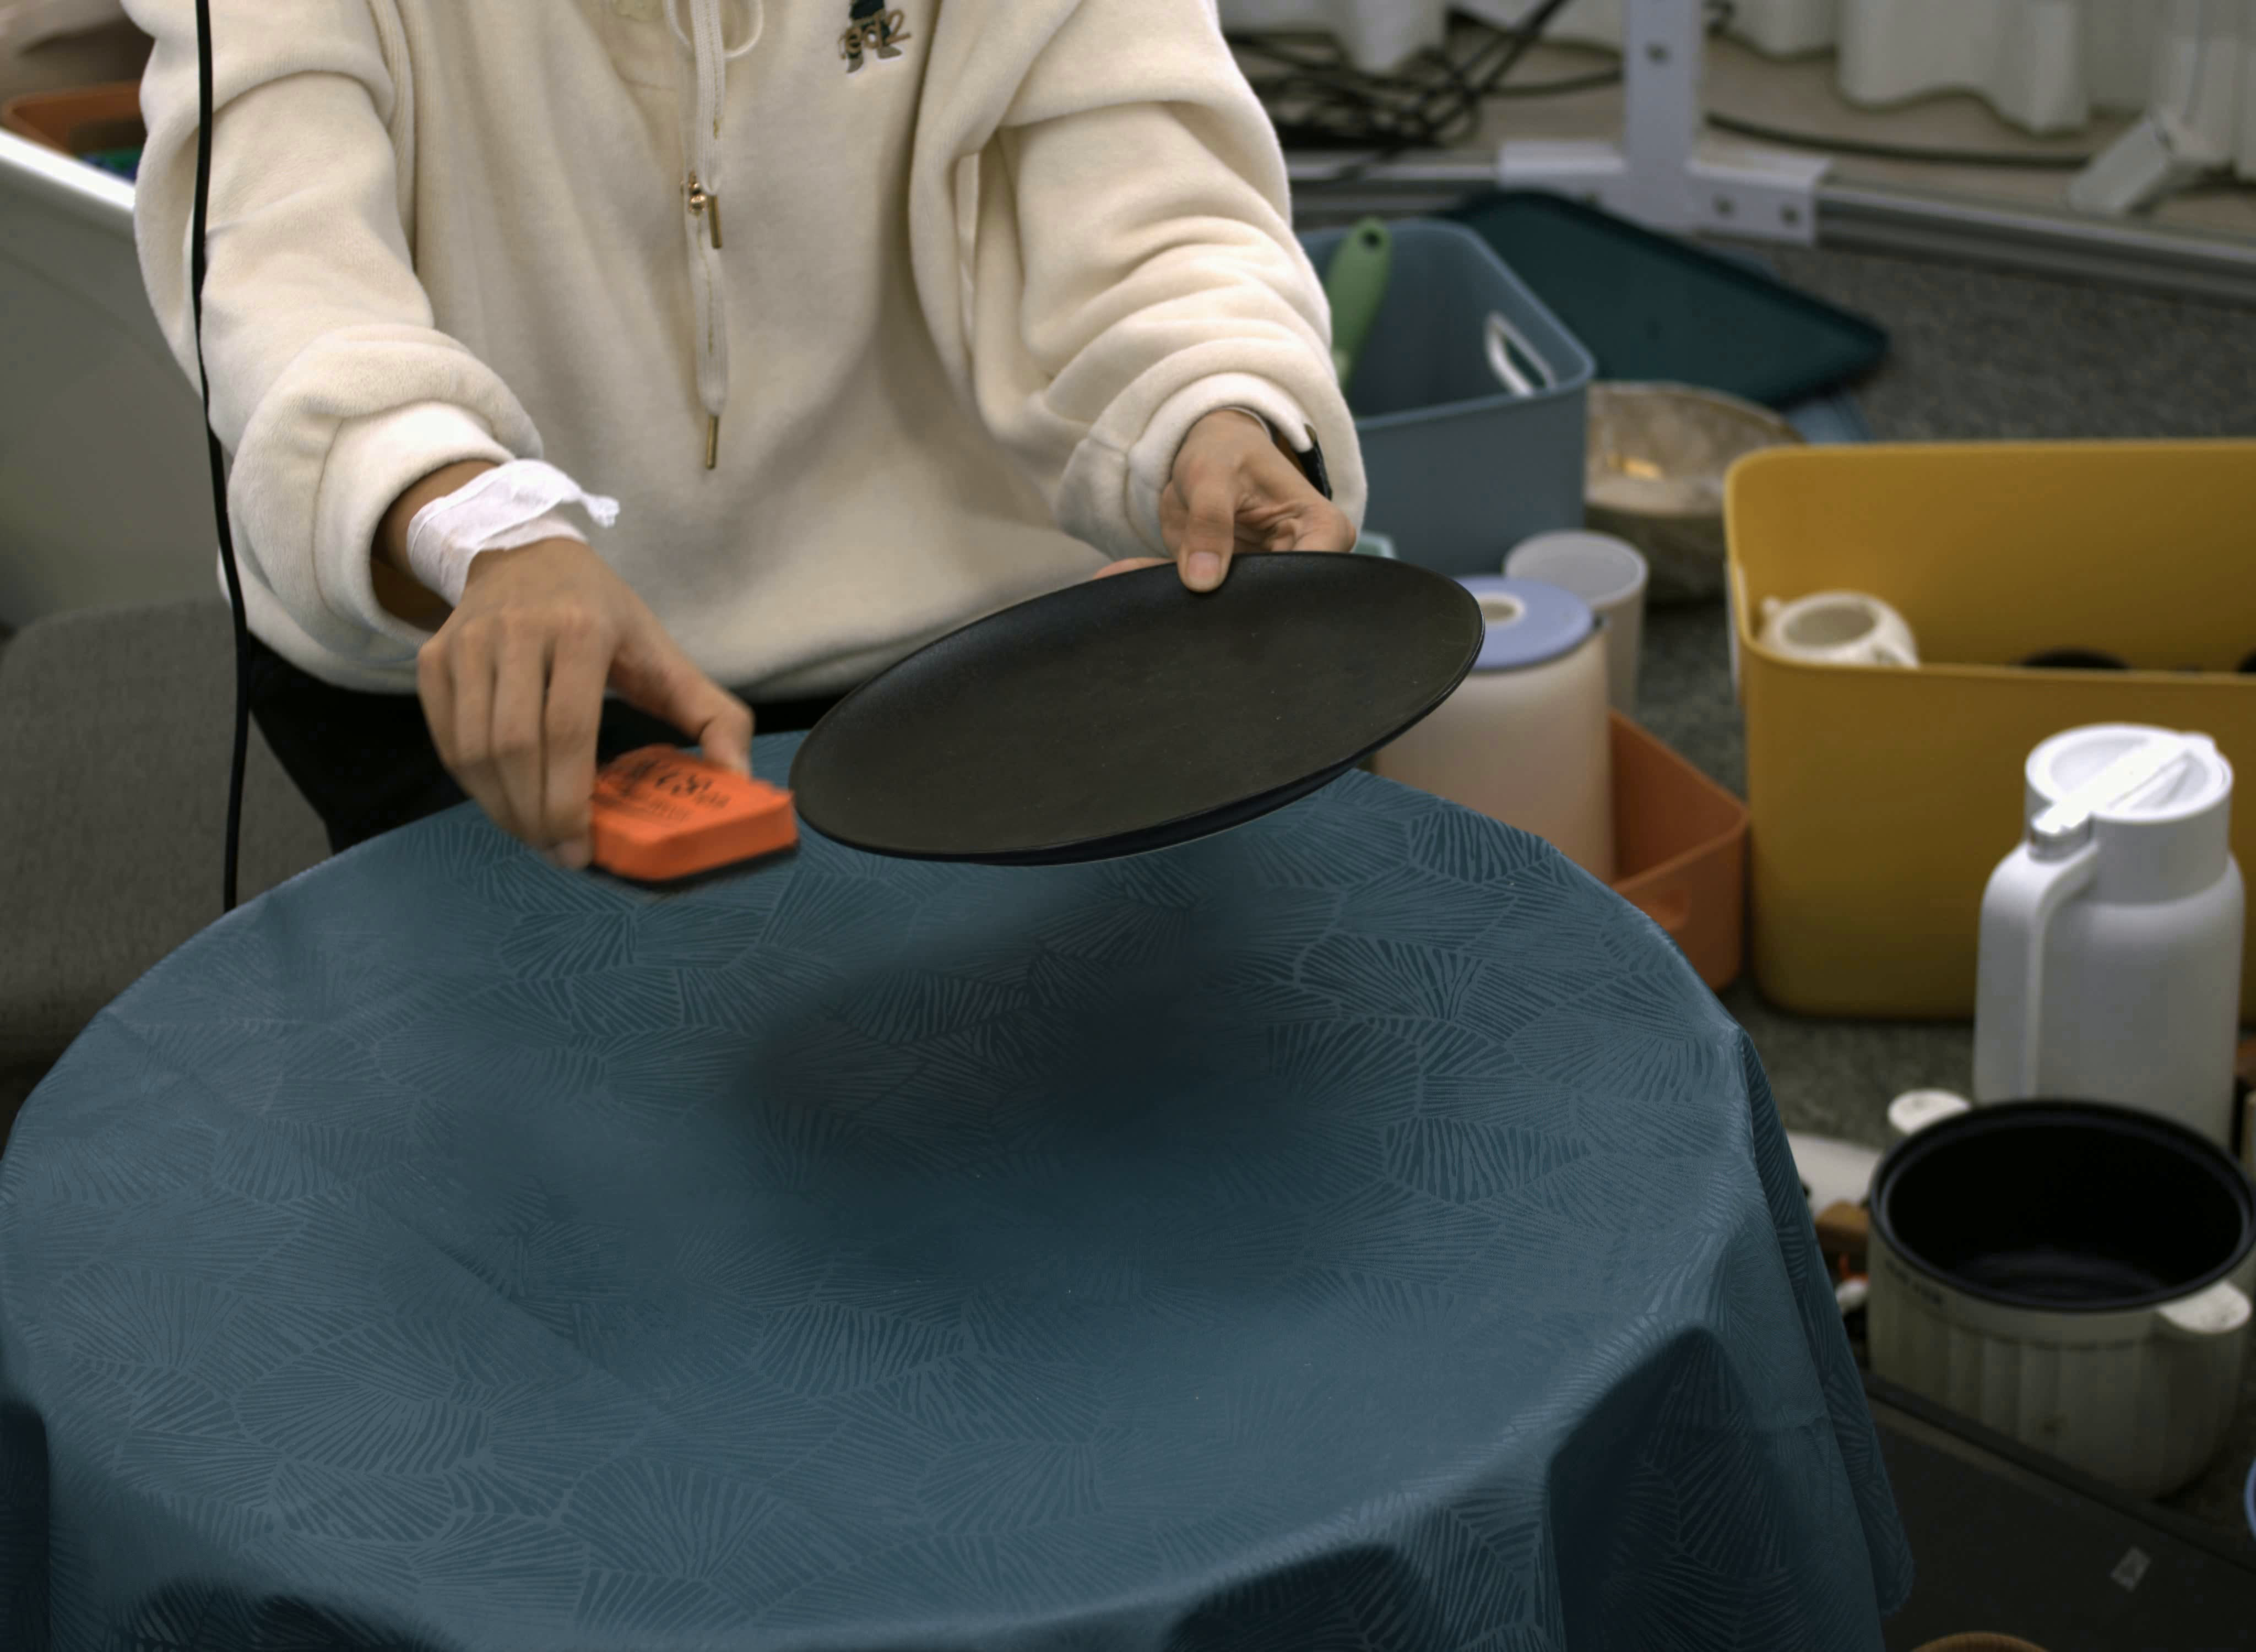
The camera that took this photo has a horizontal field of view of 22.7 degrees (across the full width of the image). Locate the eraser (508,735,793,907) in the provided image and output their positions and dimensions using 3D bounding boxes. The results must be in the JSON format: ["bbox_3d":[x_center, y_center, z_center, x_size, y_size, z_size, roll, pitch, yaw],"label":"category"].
[{"bbox_3d":[-0.156,-0.002,1.834,0.059,0.023,0.108,-16,22,-26],"label":"eraser"}]

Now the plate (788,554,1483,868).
[{"bbox_3d":[0.004,-0.036,1.913,0.243,0.023,0.247,-12,21,5],"label":"plate"}]
